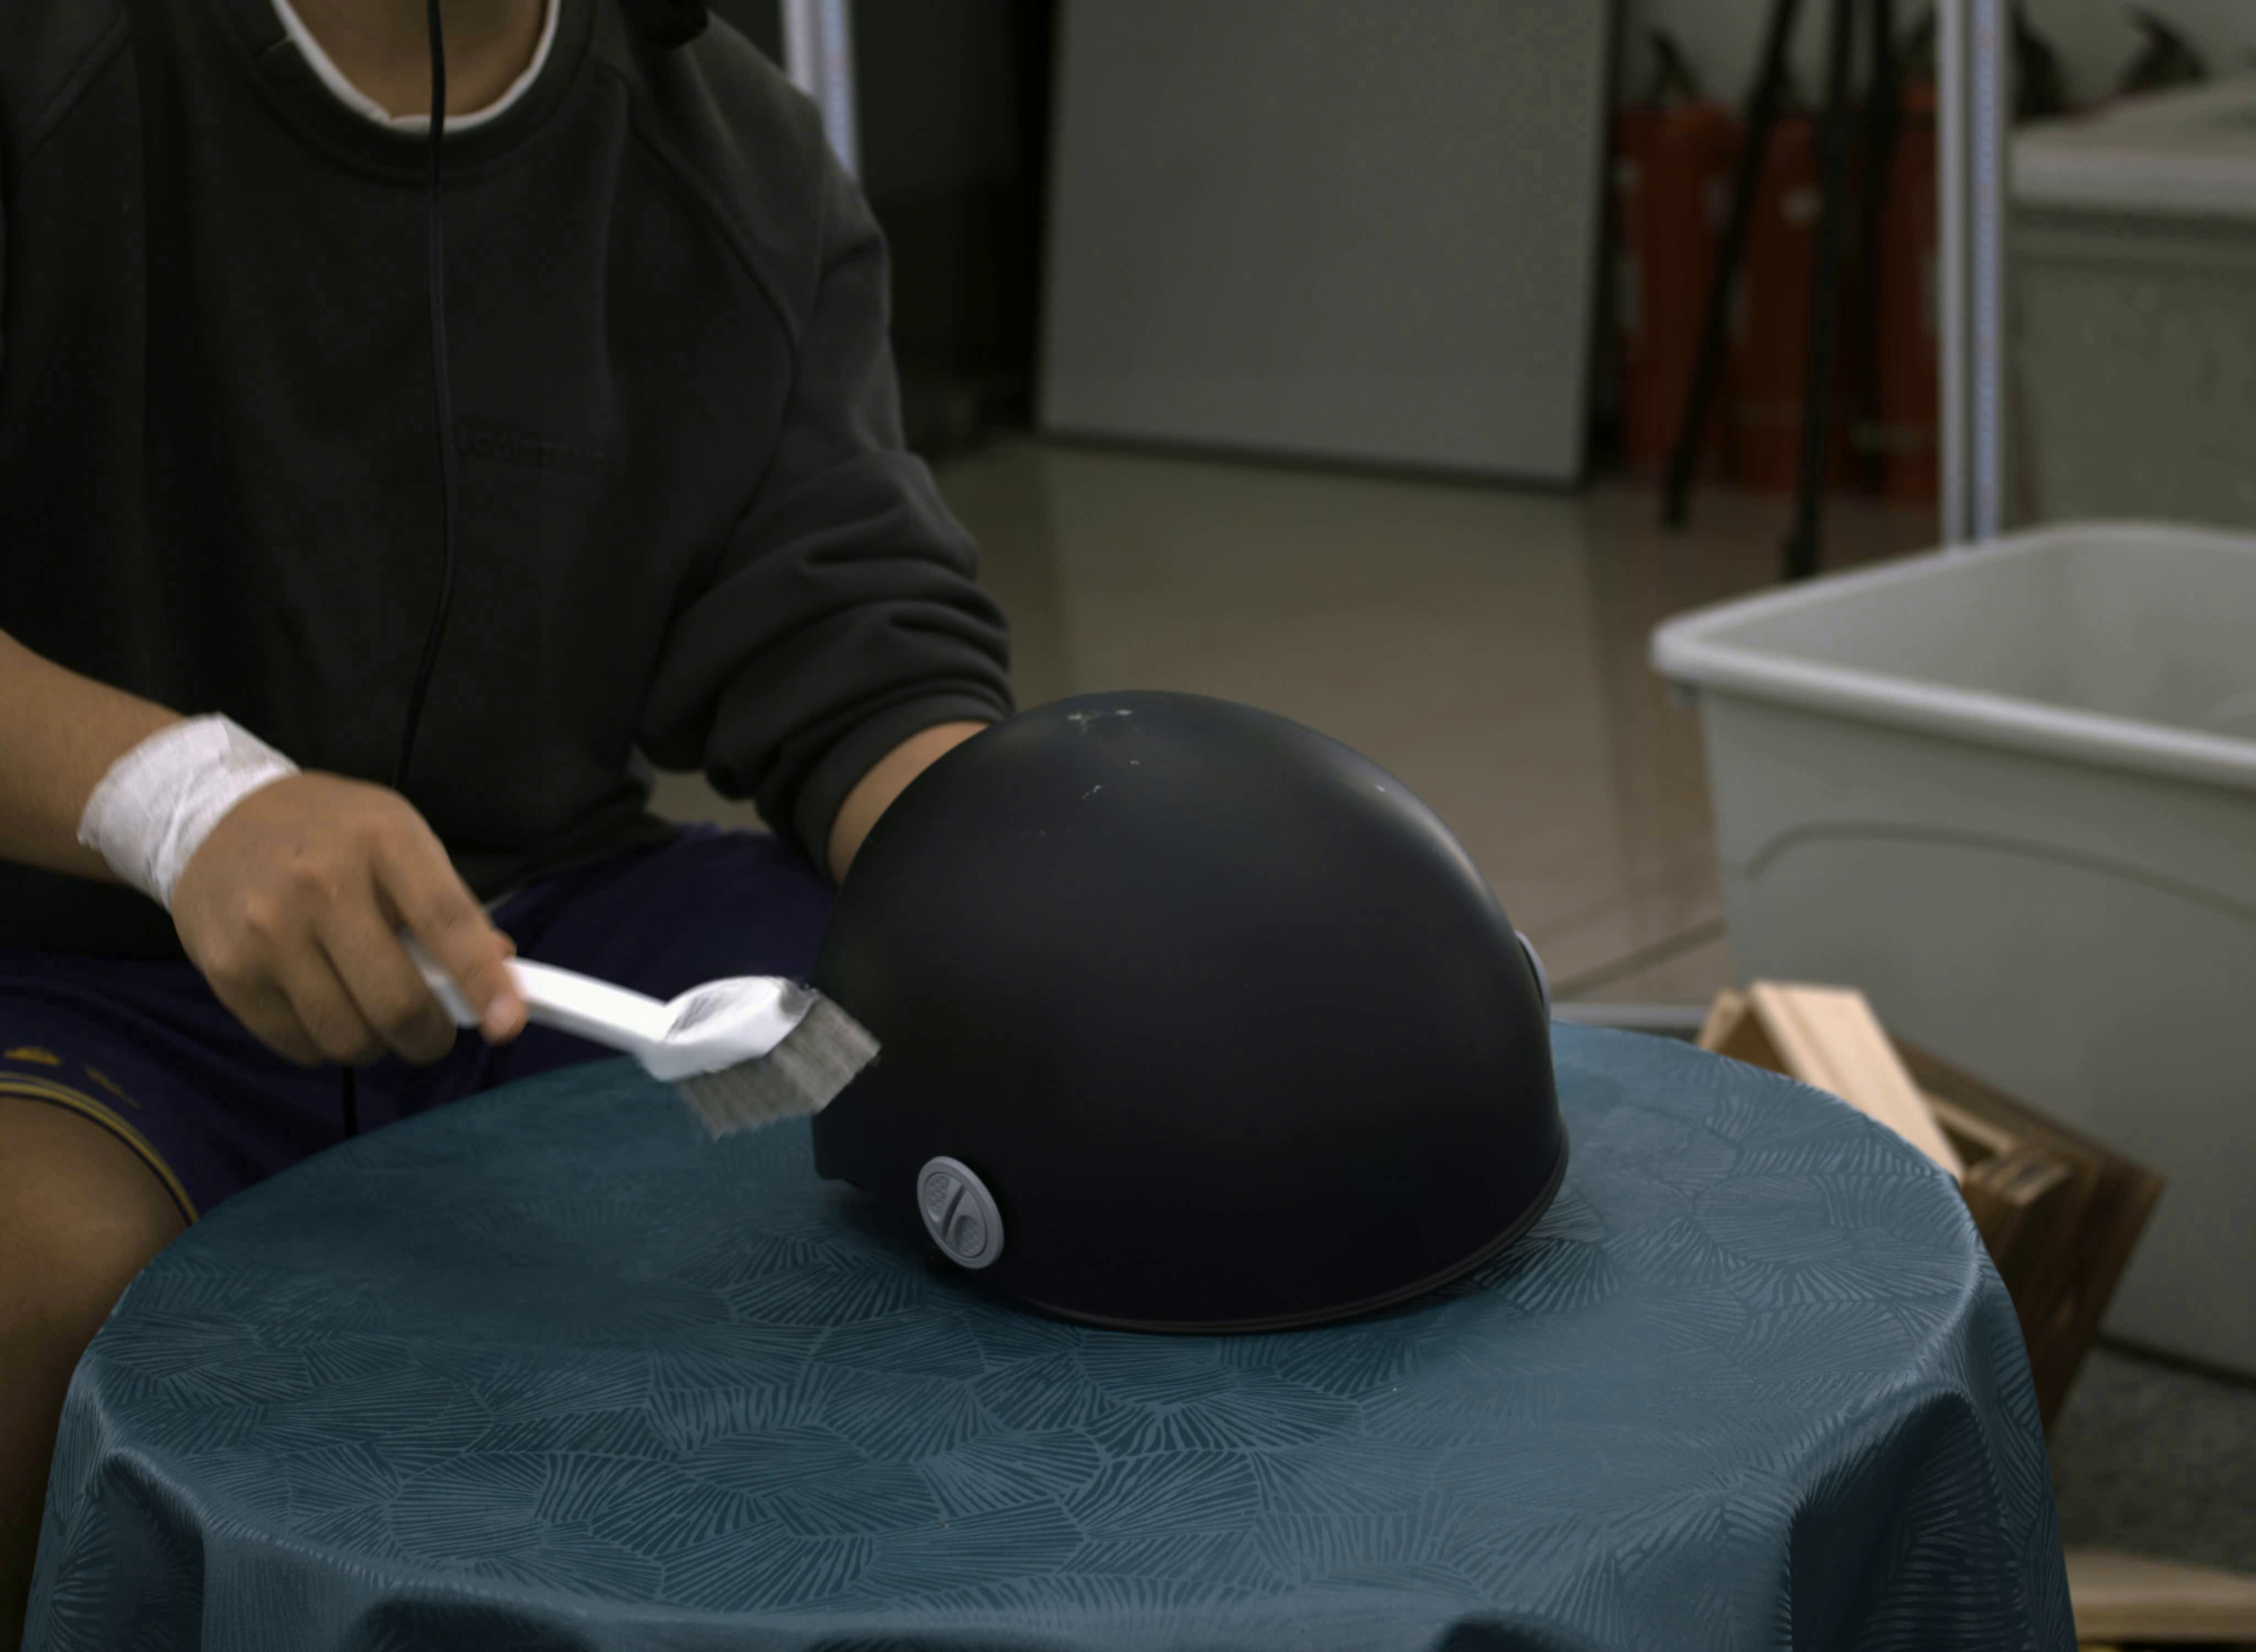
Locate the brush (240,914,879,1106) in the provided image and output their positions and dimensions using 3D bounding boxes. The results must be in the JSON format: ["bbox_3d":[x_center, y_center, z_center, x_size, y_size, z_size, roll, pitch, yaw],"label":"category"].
[{"bbox_3d":[-0.173,0.054,1.629,0.245,0.050,0.034,1,38,40],"label":"brush"}]

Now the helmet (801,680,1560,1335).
[{"bbox_3d":[0.010,0.044,1.720,0.226,0.168,0.276,-20,22,-24],"label":"helmet"}]
